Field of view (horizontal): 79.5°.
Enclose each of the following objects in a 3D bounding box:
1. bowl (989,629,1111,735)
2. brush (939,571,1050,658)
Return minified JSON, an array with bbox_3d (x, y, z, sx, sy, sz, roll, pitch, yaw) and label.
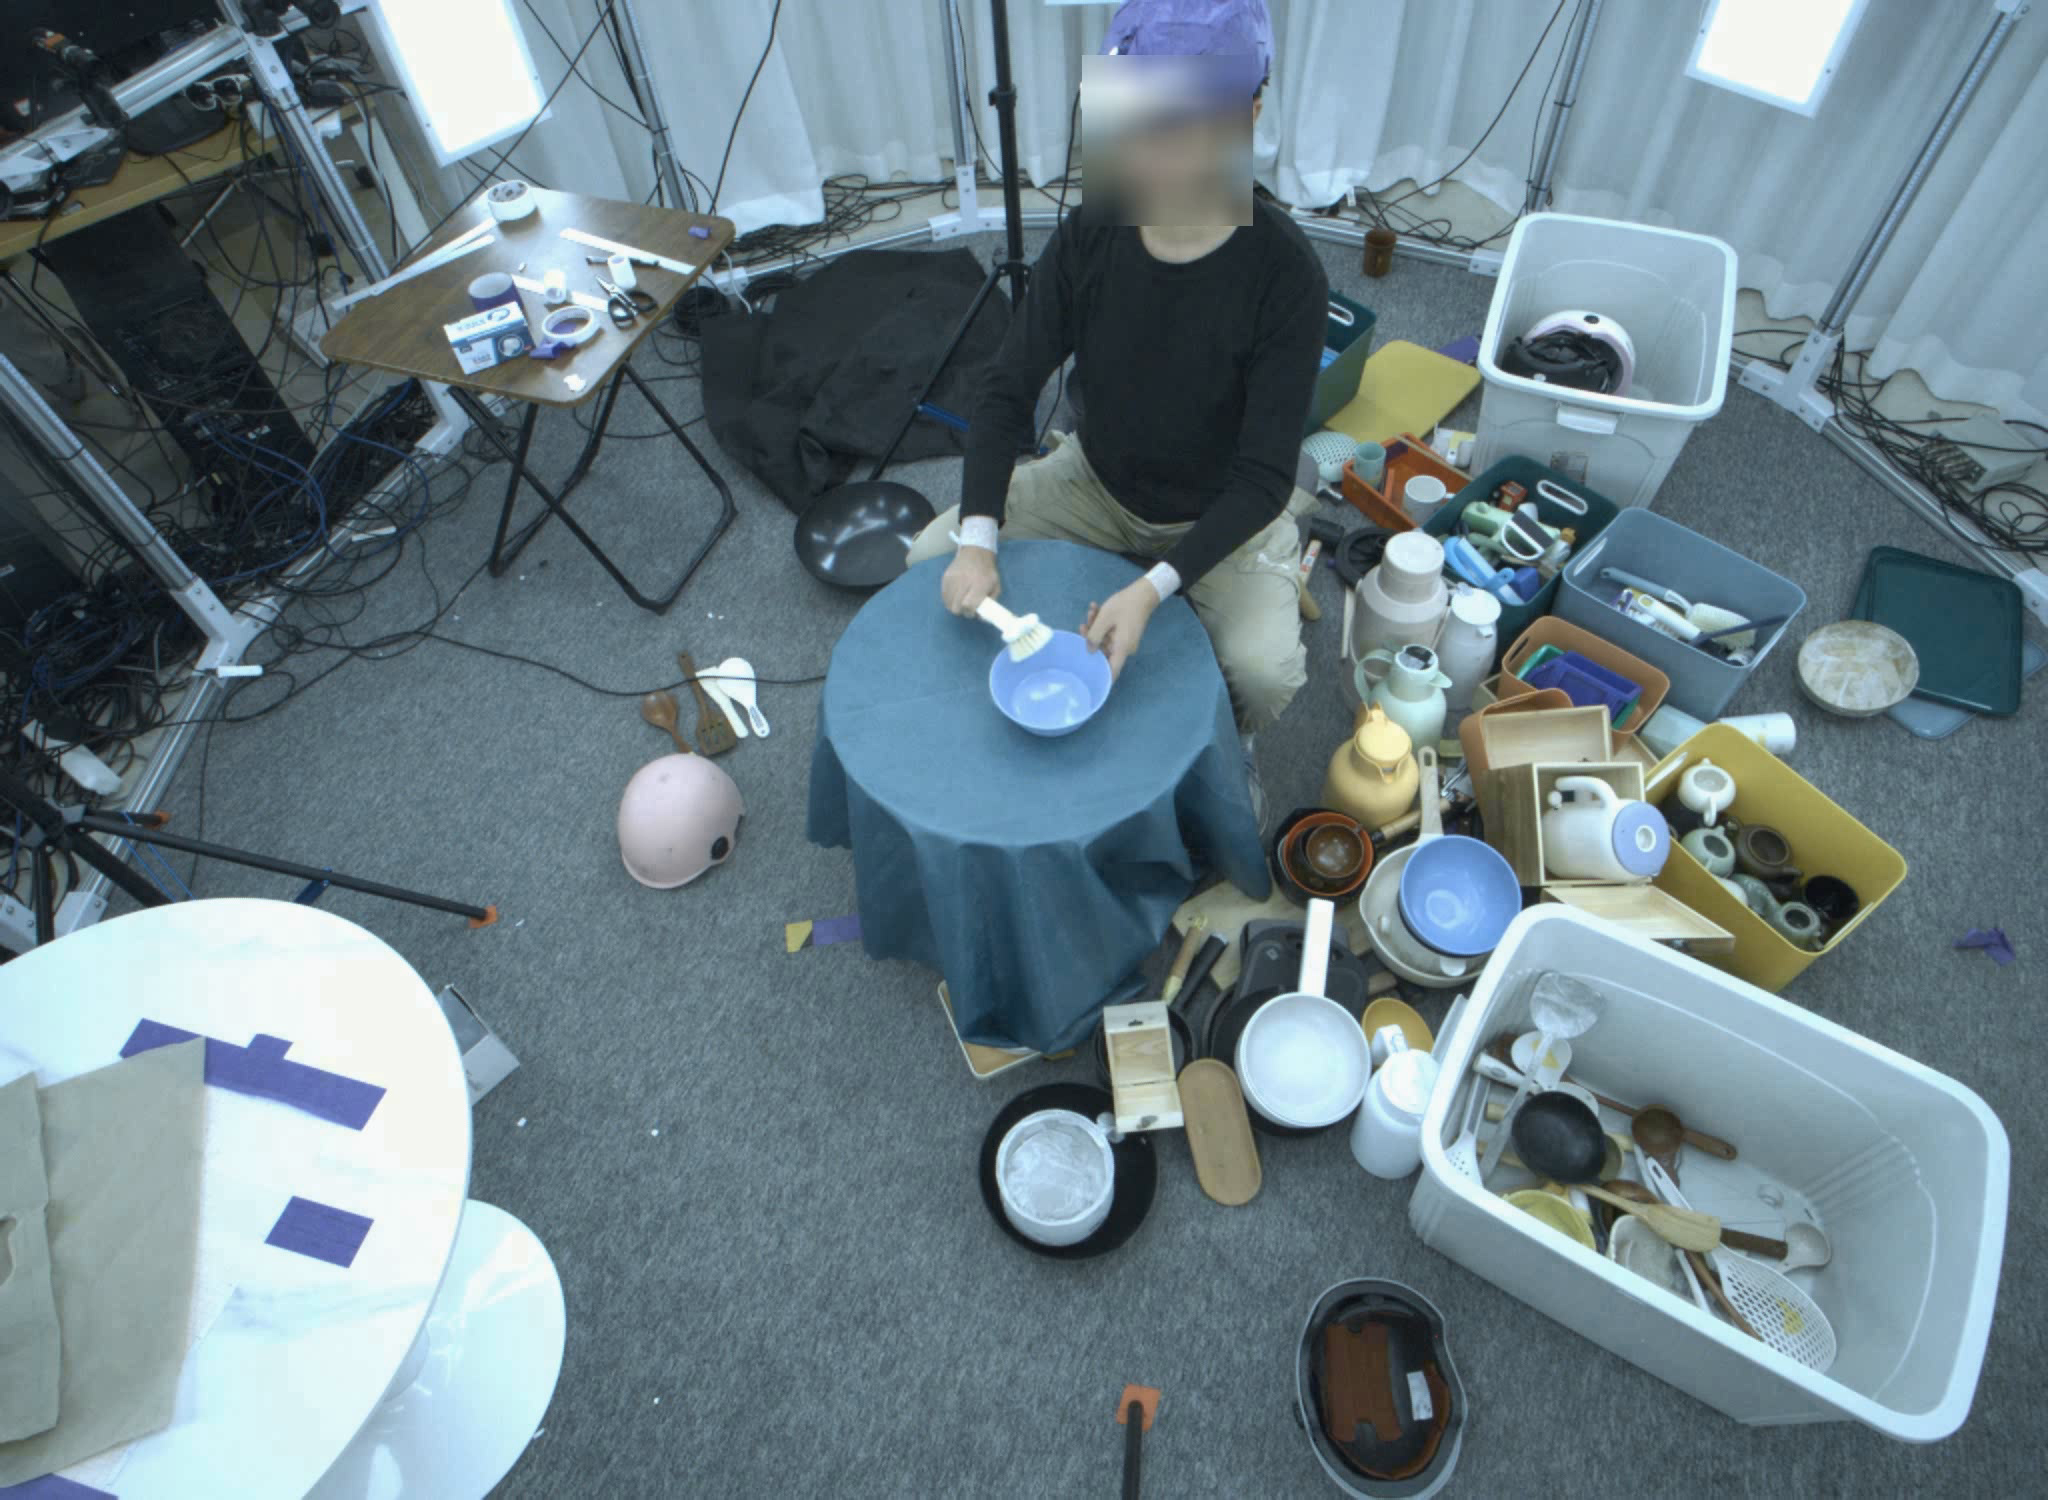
[{"bbox_3d":[0.038,-0.089,1.801,0.176,0.071,0.174,1,58,0],"label":"bowl"},{"bbox_3d":[-0.050,-0.206,1.831,0.069,0.057,0.260,-37,39,-13],"label":"brush"}]
